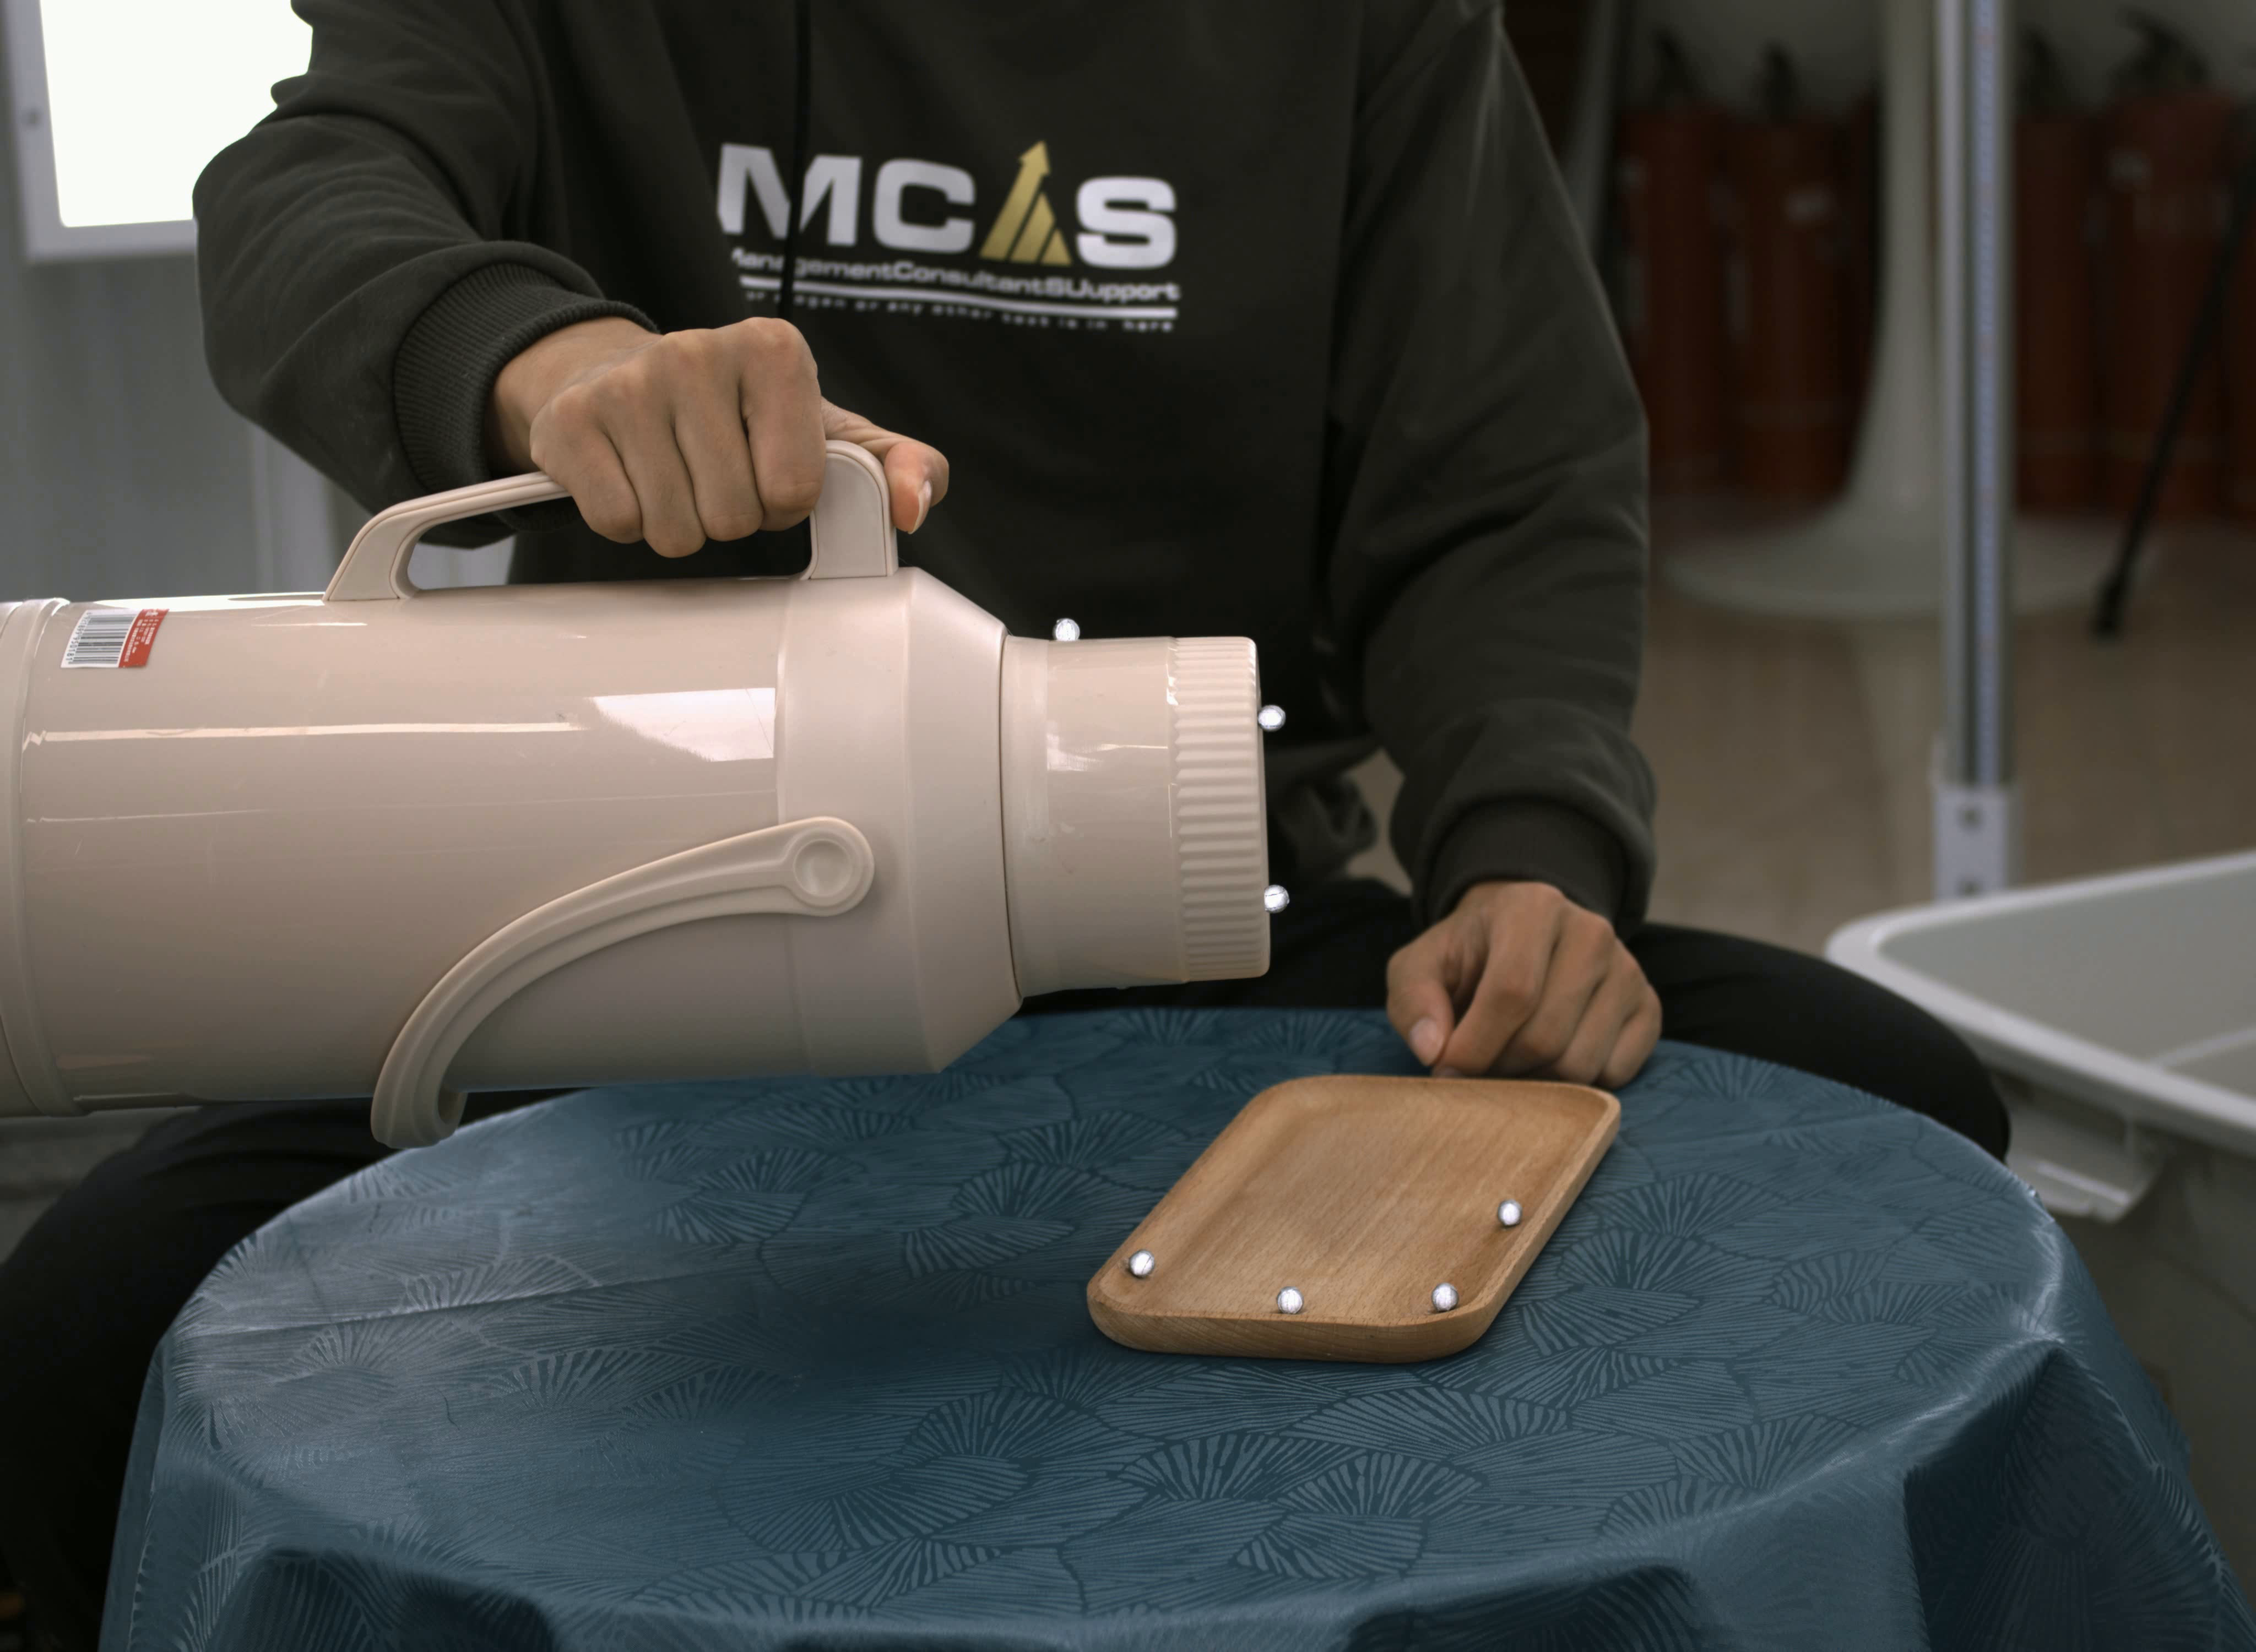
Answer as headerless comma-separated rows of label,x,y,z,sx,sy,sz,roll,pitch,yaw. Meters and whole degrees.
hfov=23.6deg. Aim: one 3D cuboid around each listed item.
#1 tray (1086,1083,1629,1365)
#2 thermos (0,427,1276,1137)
tray,0.077,0.124,1.713,0.130,0.023,0.248,3,14,18
thermos,-0.158,-0.013,1.650,0.402,0.209,0.175,-3,8,5
